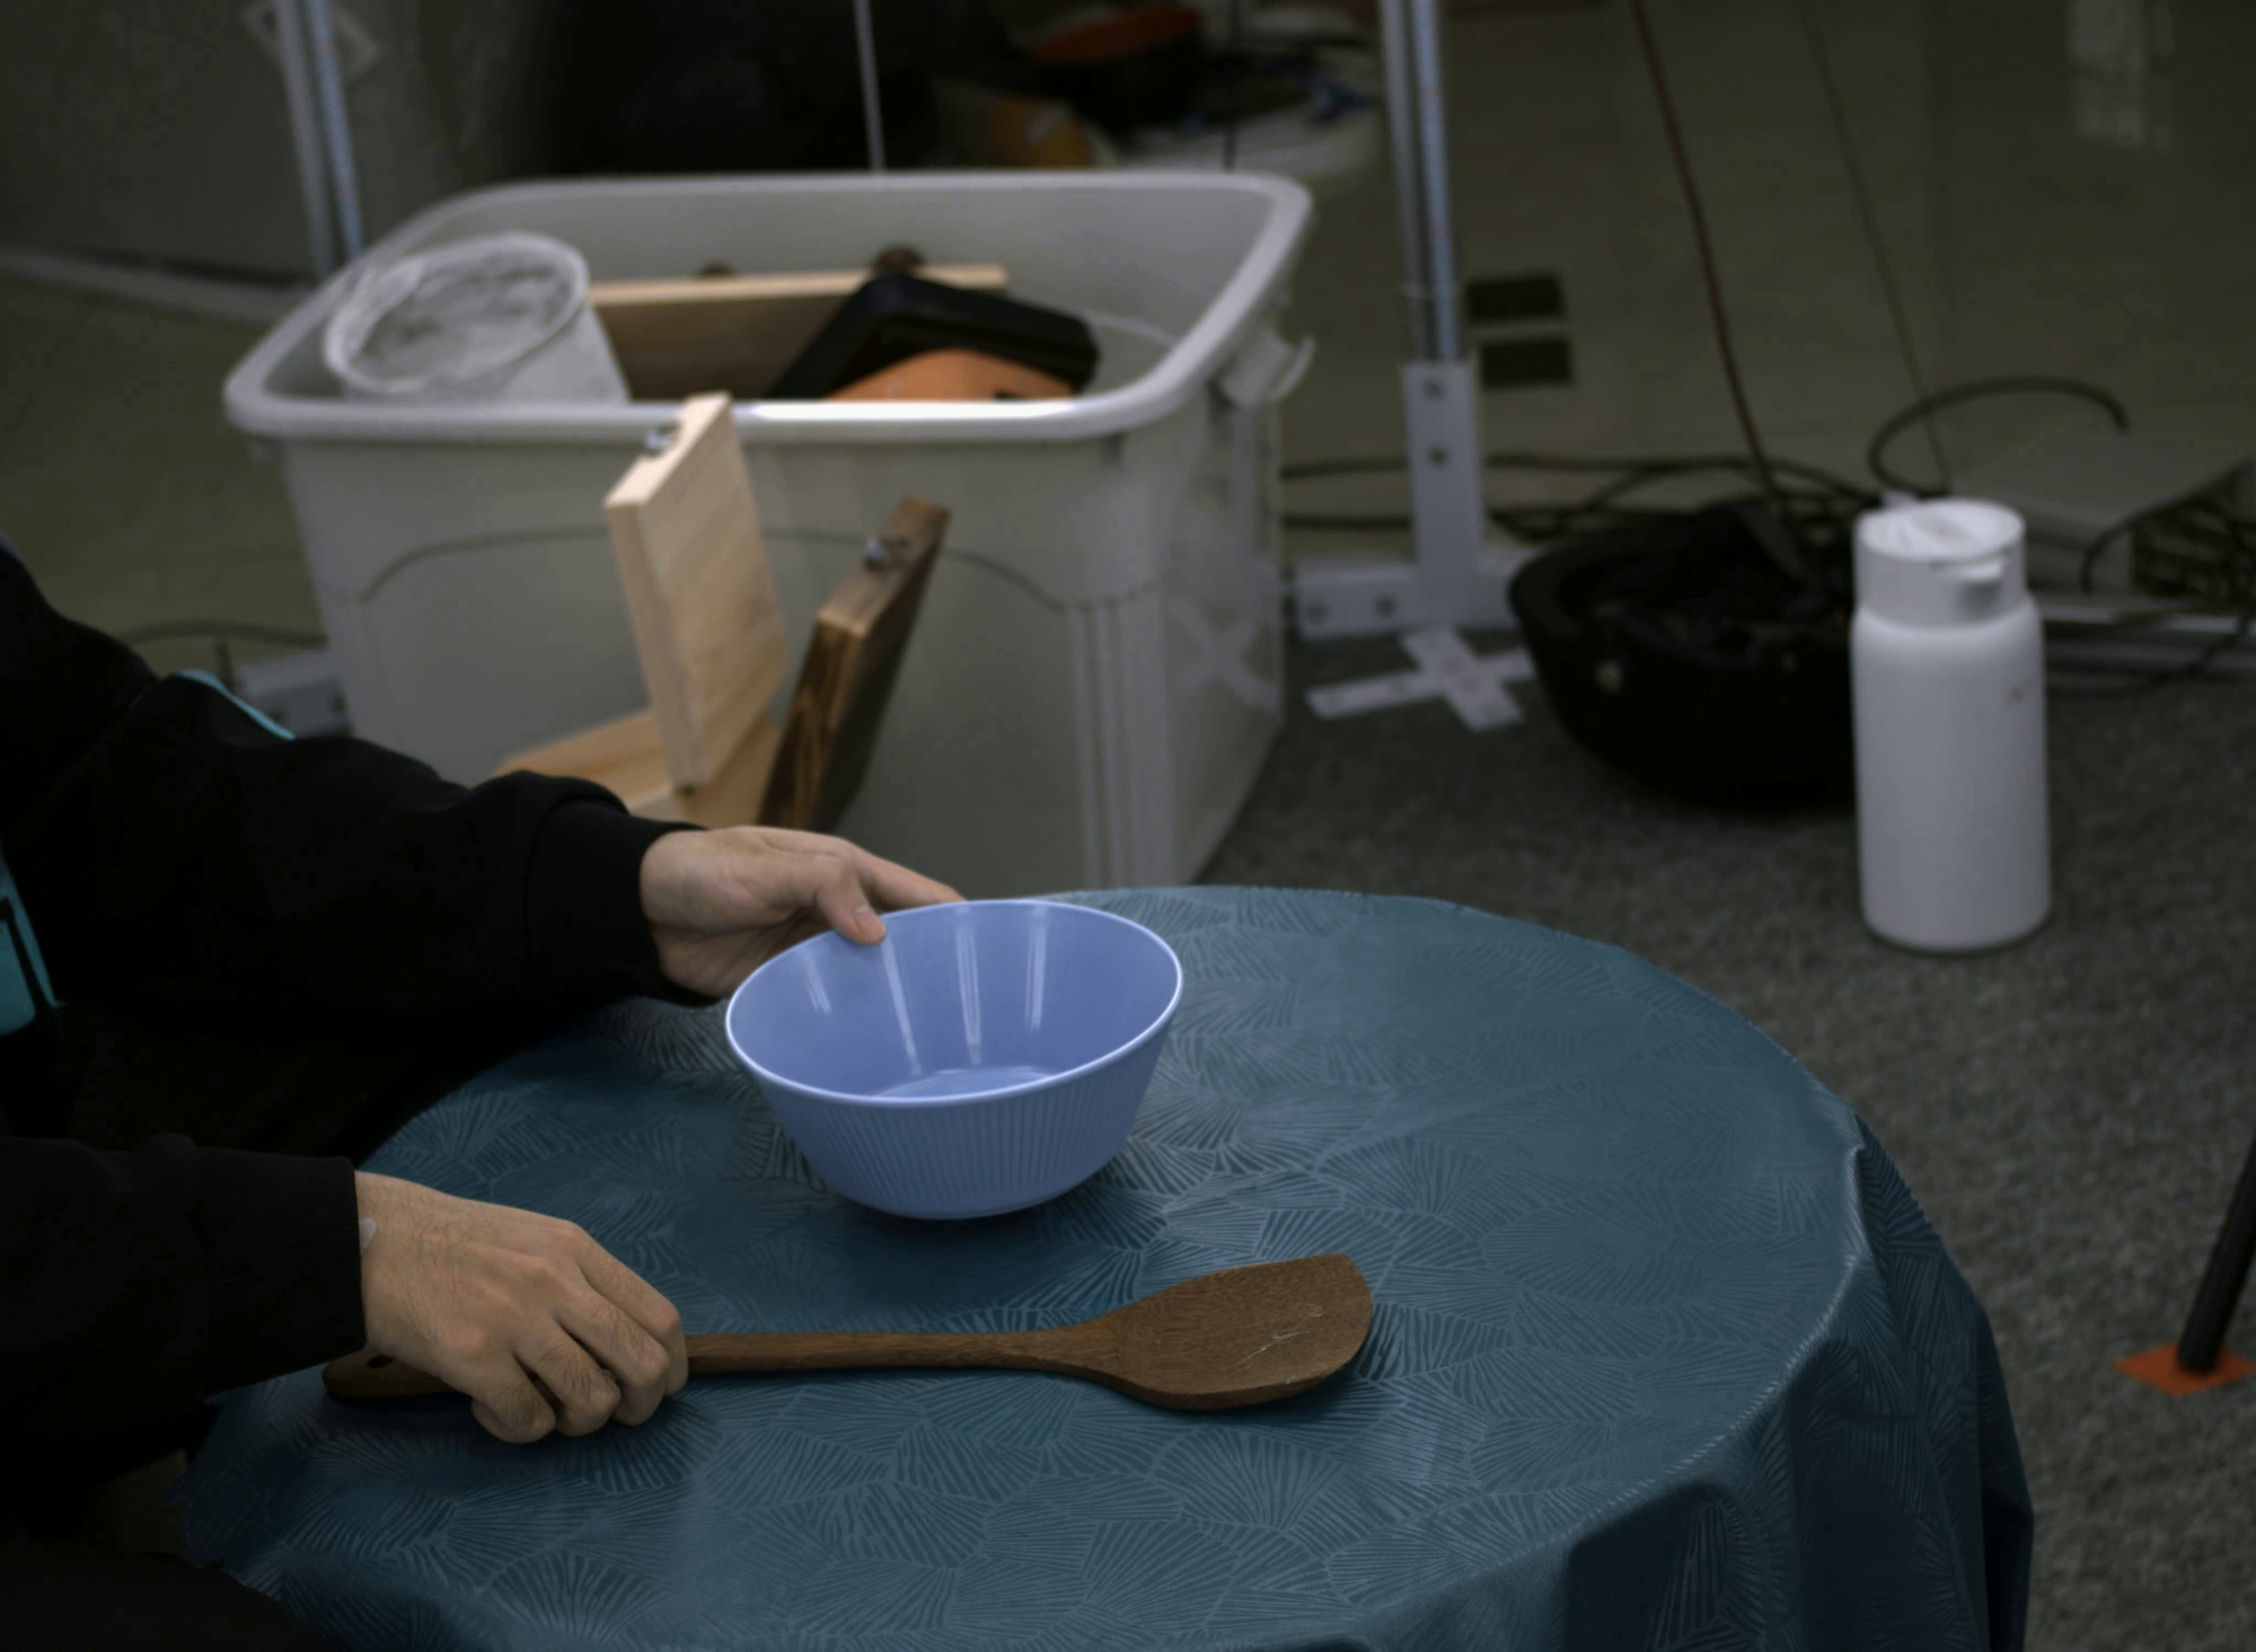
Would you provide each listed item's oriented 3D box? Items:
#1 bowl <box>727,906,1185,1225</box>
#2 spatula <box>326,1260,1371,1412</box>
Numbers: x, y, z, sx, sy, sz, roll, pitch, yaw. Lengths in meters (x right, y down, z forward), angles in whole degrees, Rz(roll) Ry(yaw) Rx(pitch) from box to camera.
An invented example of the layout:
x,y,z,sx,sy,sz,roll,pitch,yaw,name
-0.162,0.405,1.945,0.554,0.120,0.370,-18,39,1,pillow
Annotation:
x,y,z,sx,sy,sz,roll,pitch,yaw,name
-0.062,0.097,2.158,0.176,0.071,0.173,-6,24,3,bowl
-0.104,0.190,2.051,0.385,0.016,0.095,-3,25,8,spatula
